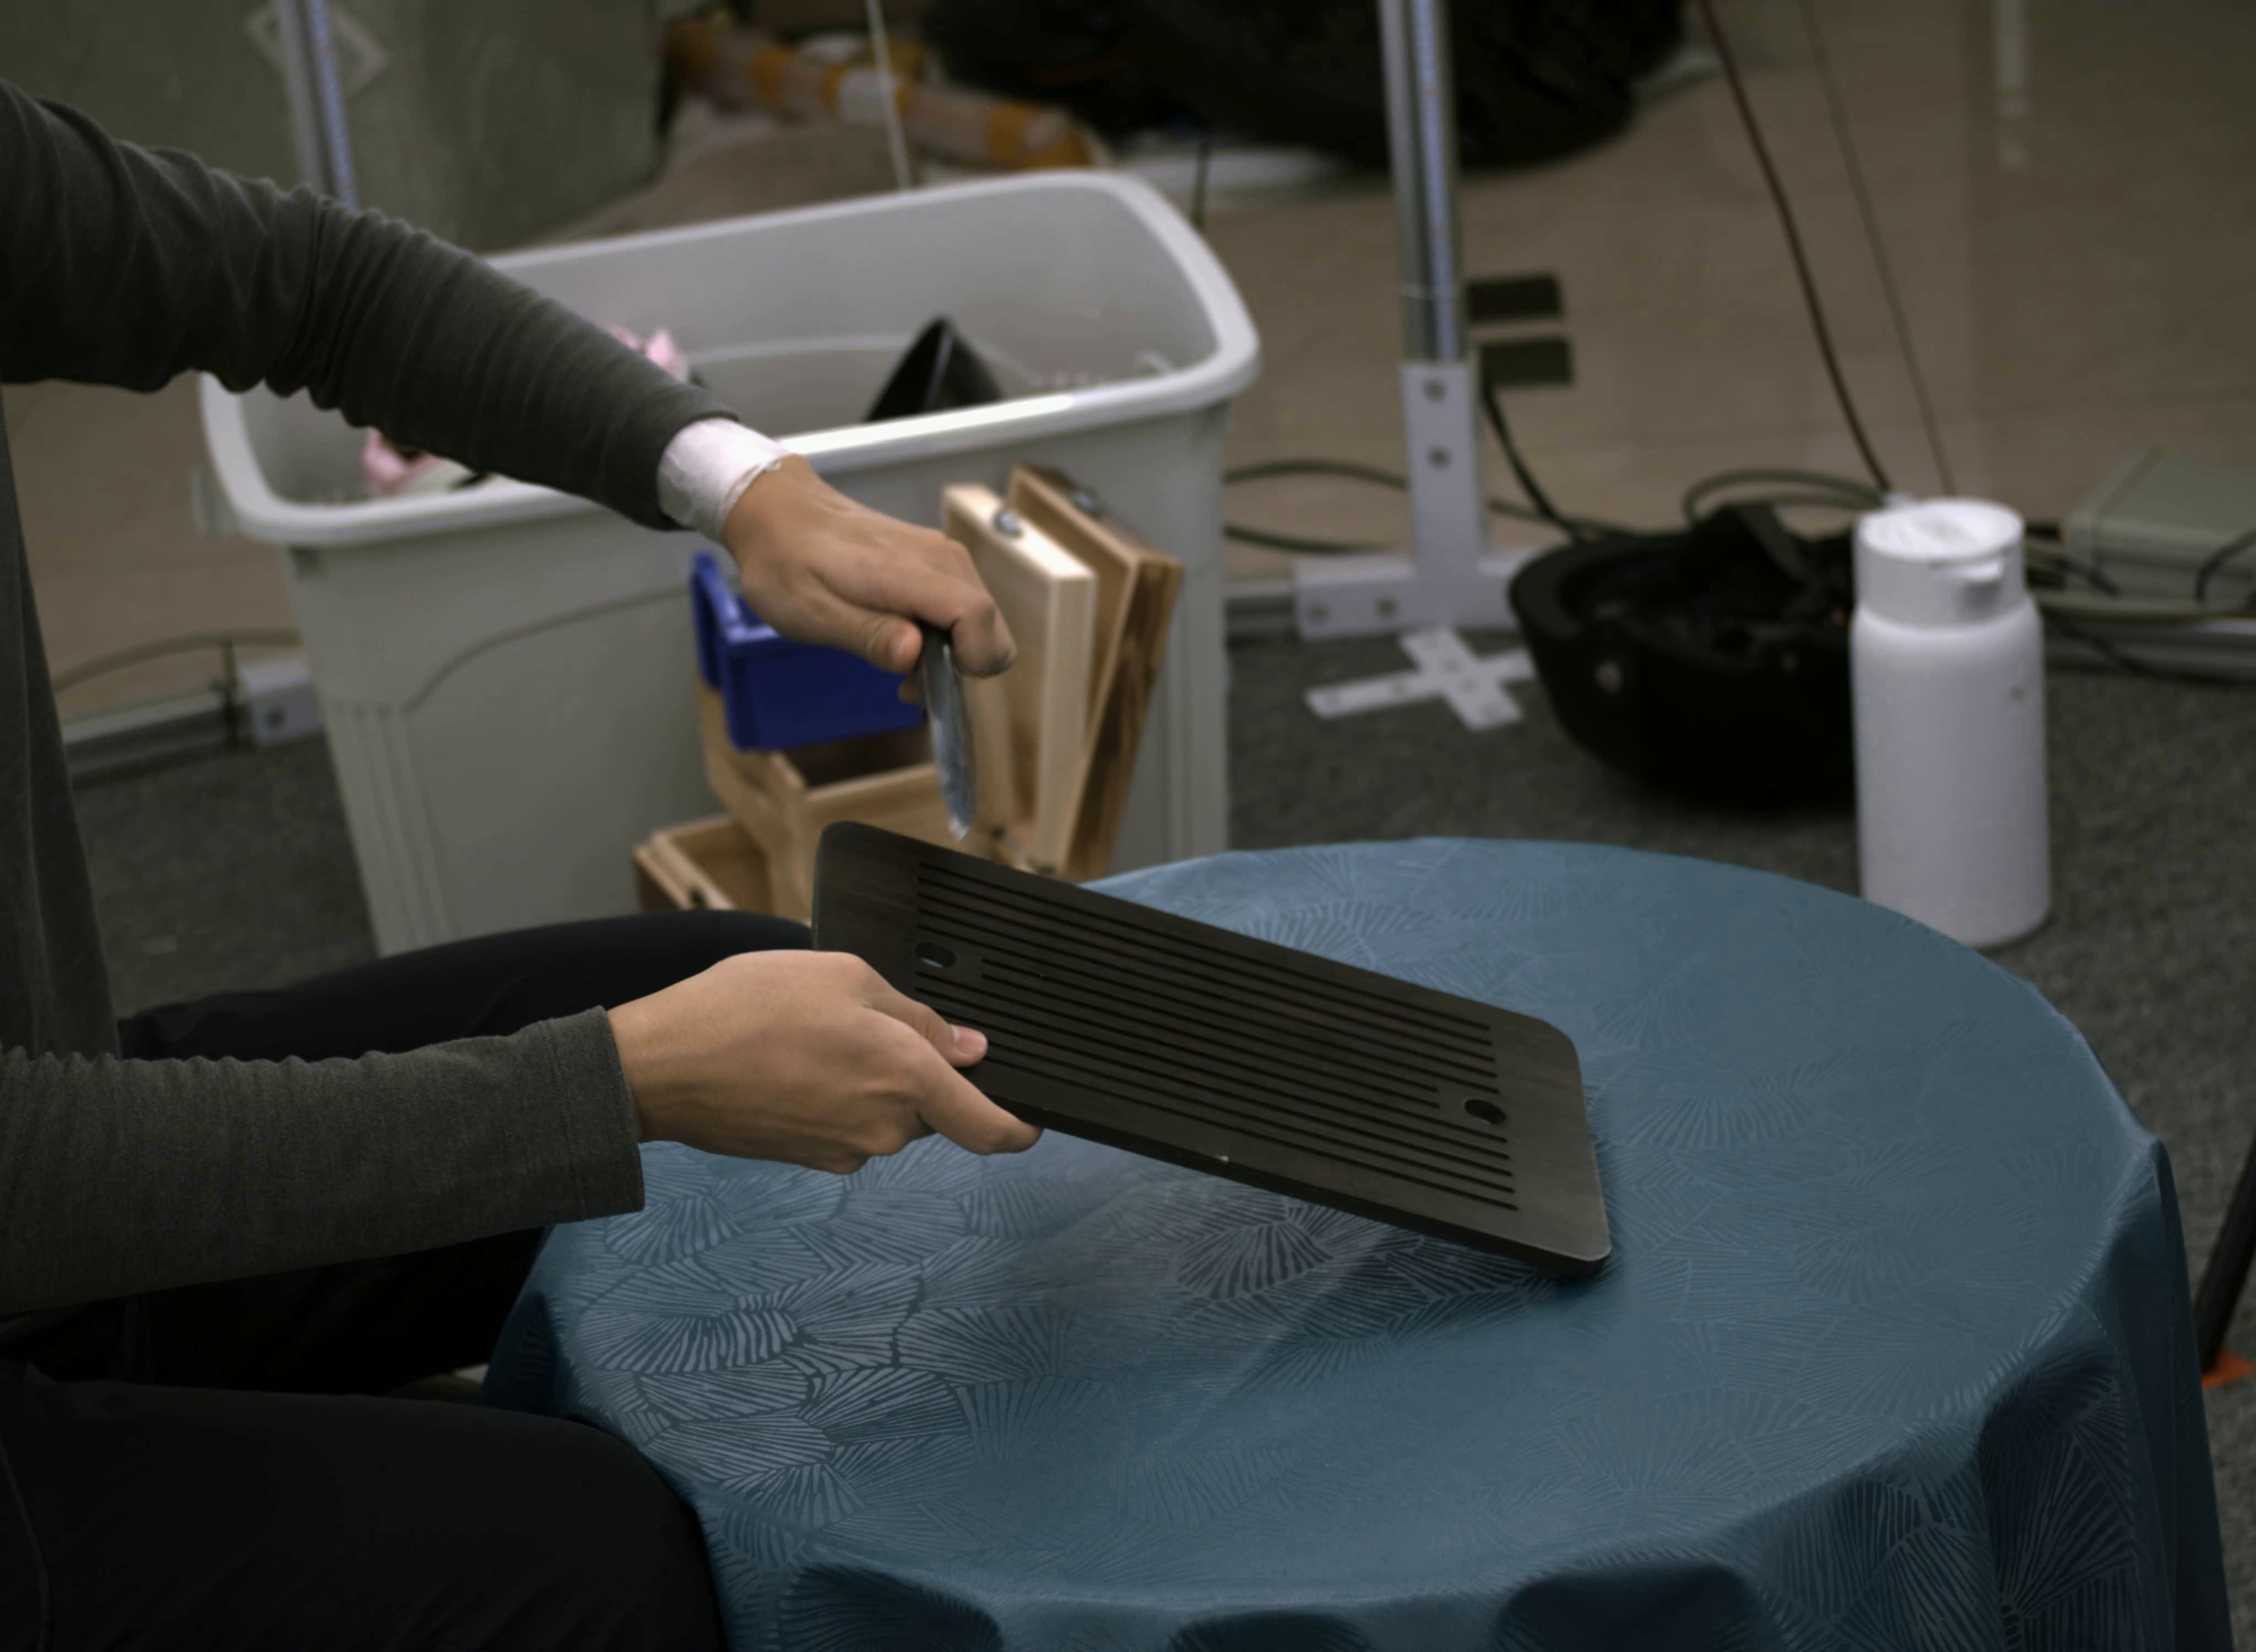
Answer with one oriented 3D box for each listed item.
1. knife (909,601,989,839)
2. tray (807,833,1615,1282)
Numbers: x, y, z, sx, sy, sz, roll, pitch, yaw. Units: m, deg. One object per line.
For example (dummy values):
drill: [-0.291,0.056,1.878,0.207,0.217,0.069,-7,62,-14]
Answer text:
knife: [-0.068,-0.042,2.182,0.016,0.025,0.235,-40,21,10]
tray: [0.028,0.086,2.090,0.306,0.019,0.167,16,27,-11]
